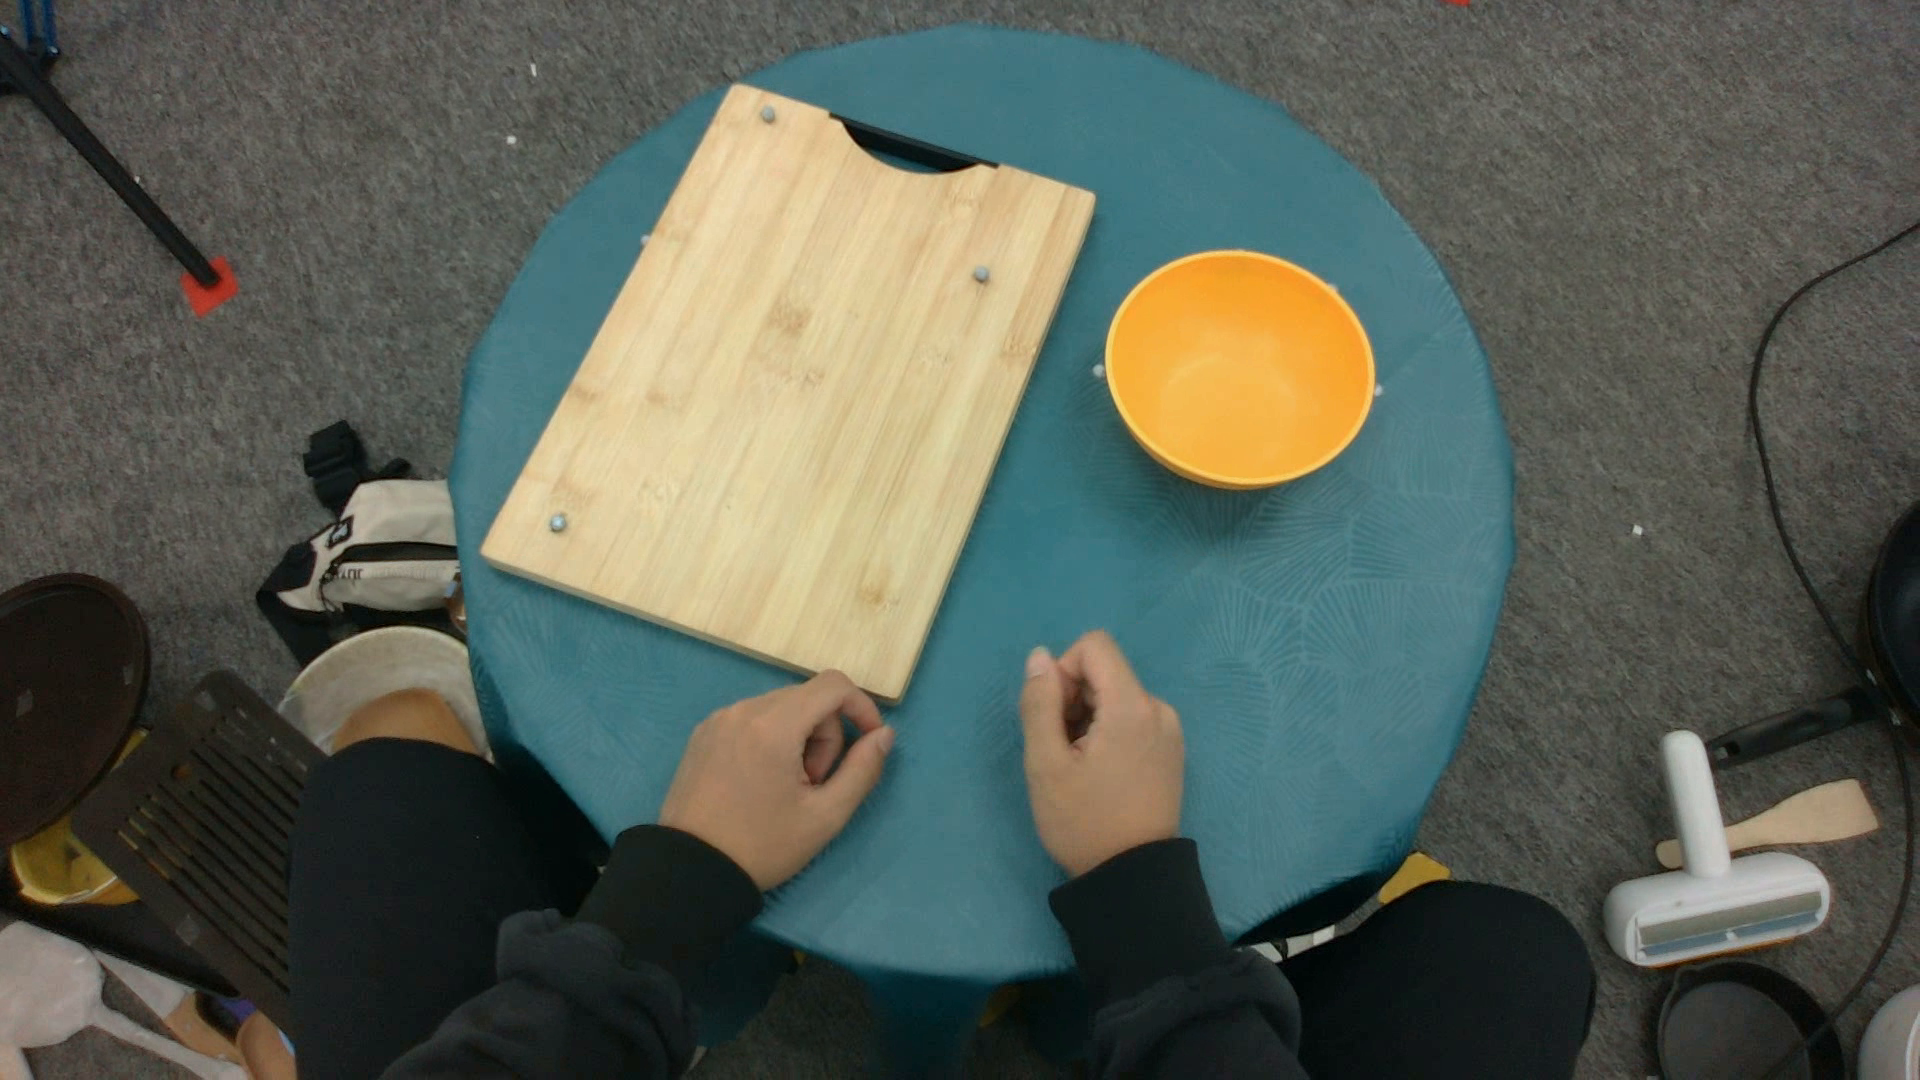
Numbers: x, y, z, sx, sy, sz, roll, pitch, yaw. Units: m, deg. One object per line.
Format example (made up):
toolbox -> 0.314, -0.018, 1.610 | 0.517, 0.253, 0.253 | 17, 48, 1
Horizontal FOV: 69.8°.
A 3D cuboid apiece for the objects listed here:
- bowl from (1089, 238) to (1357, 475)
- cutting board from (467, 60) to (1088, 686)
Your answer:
bowl -> 0.143, -0.093, 0.772 | 0.145, 0.060, 0.146 | 0, 68, 1
cutting board -> -0.094, -0.111, 0.793 | 0.250, 0.023, 0.350 | 18, 68, 5
